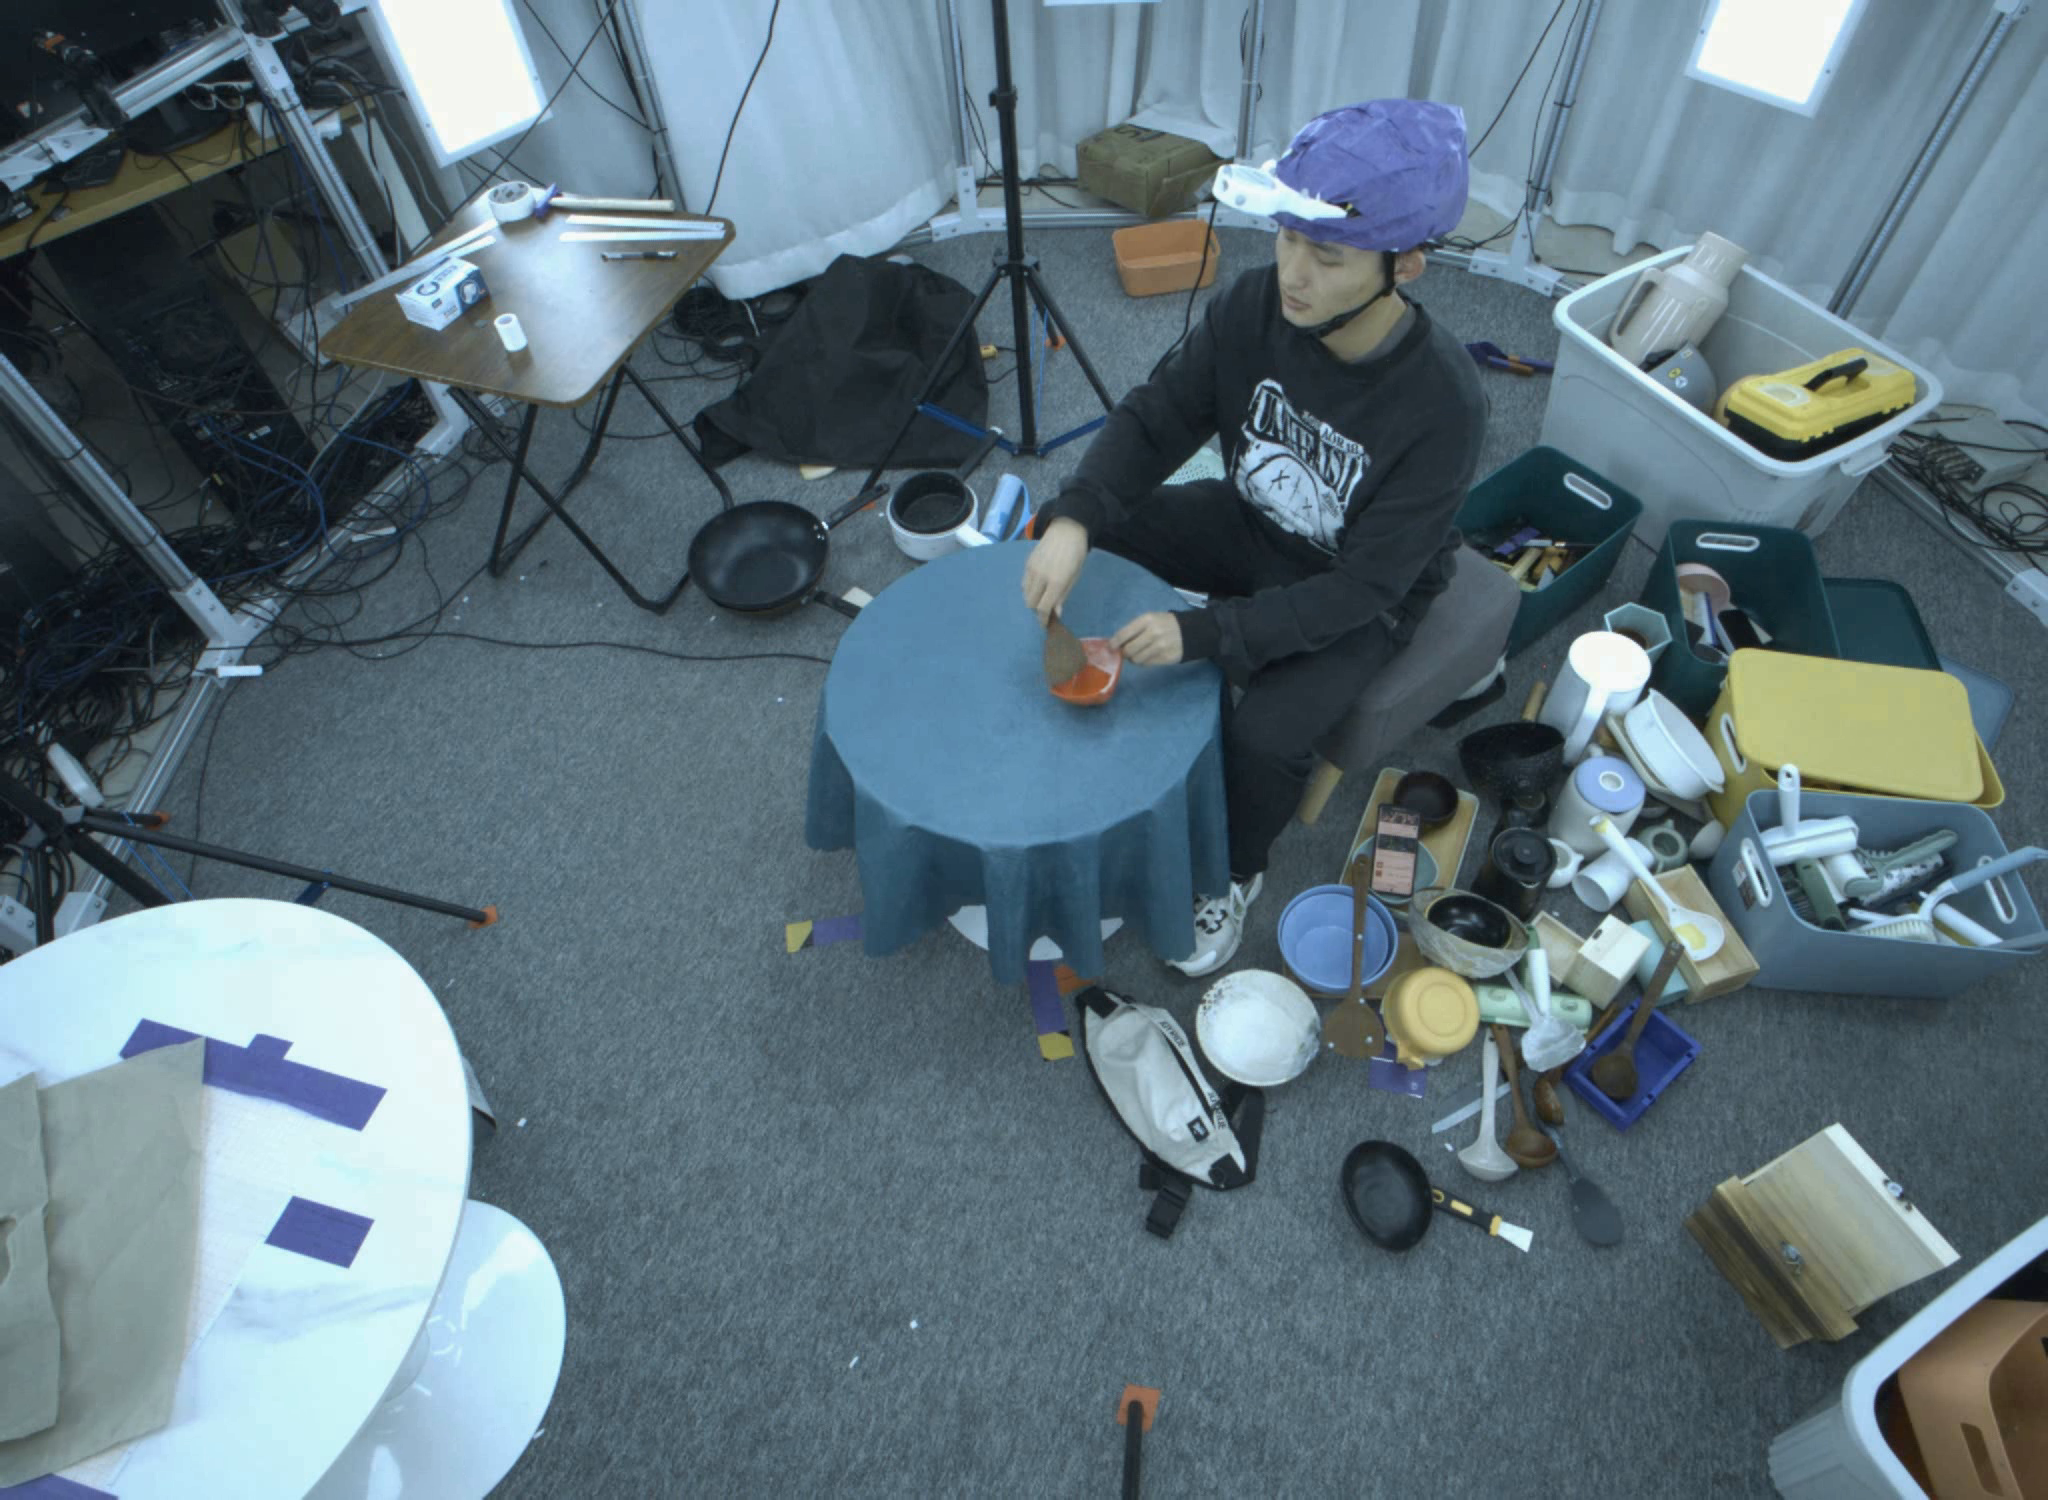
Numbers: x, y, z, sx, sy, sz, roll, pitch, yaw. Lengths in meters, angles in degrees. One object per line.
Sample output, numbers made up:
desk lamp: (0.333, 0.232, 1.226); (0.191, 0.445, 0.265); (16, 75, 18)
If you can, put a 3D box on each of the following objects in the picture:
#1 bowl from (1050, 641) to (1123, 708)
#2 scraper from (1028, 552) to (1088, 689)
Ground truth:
bowl: (0.100, -0.104, 1.827); (0.118, 0.052, 0.117); (-11, 53, 16)
scraper: (0.041, -0.195, 1.809); (0.075, 0.011, 0.209); (-25, 73, 34)
